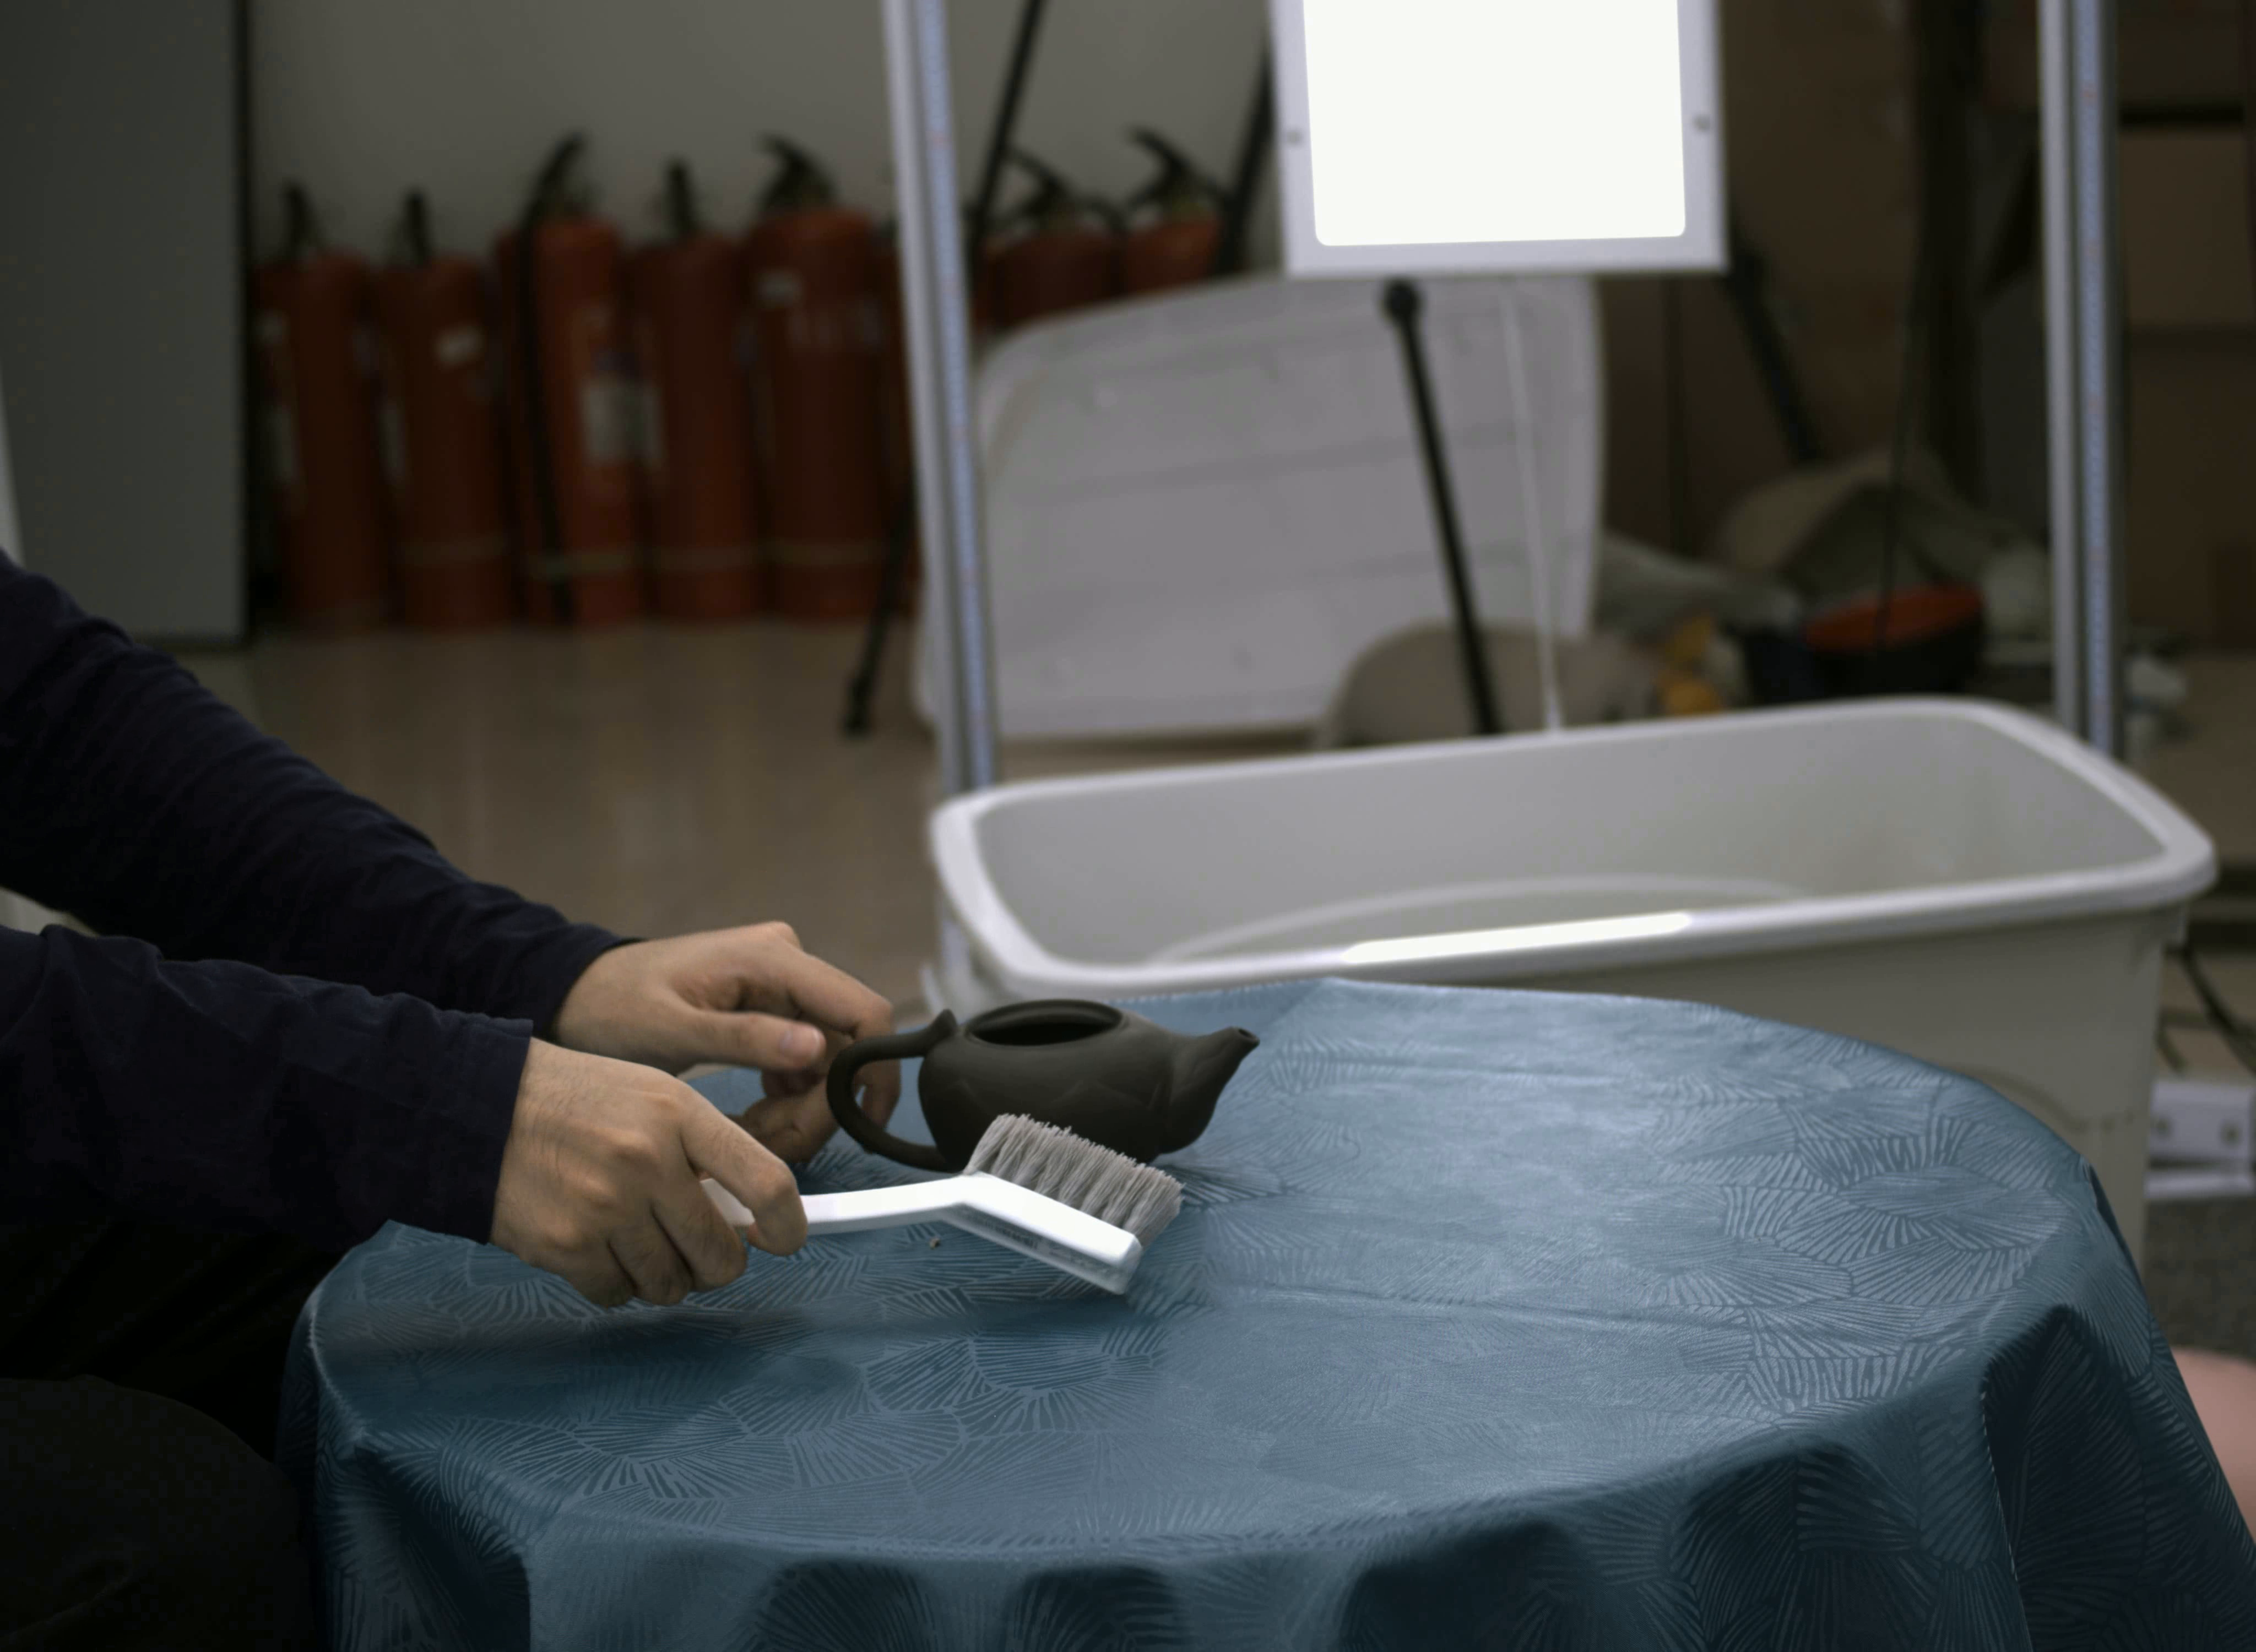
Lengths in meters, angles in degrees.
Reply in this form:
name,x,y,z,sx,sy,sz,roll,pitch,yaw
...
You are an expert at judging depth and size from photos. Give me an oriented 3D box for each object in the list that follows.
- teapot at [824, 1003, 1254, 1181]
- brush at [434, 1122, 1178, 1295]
name,x,y,z,sx,sy,sz,roll,pitch,yaw
teapot,-0.030,0.095,1.911,0.155,0.064,0.091,-3,15,13
brush,-0.105,0.116,1.798,0.244,0.050,0.034,5,-15,9
